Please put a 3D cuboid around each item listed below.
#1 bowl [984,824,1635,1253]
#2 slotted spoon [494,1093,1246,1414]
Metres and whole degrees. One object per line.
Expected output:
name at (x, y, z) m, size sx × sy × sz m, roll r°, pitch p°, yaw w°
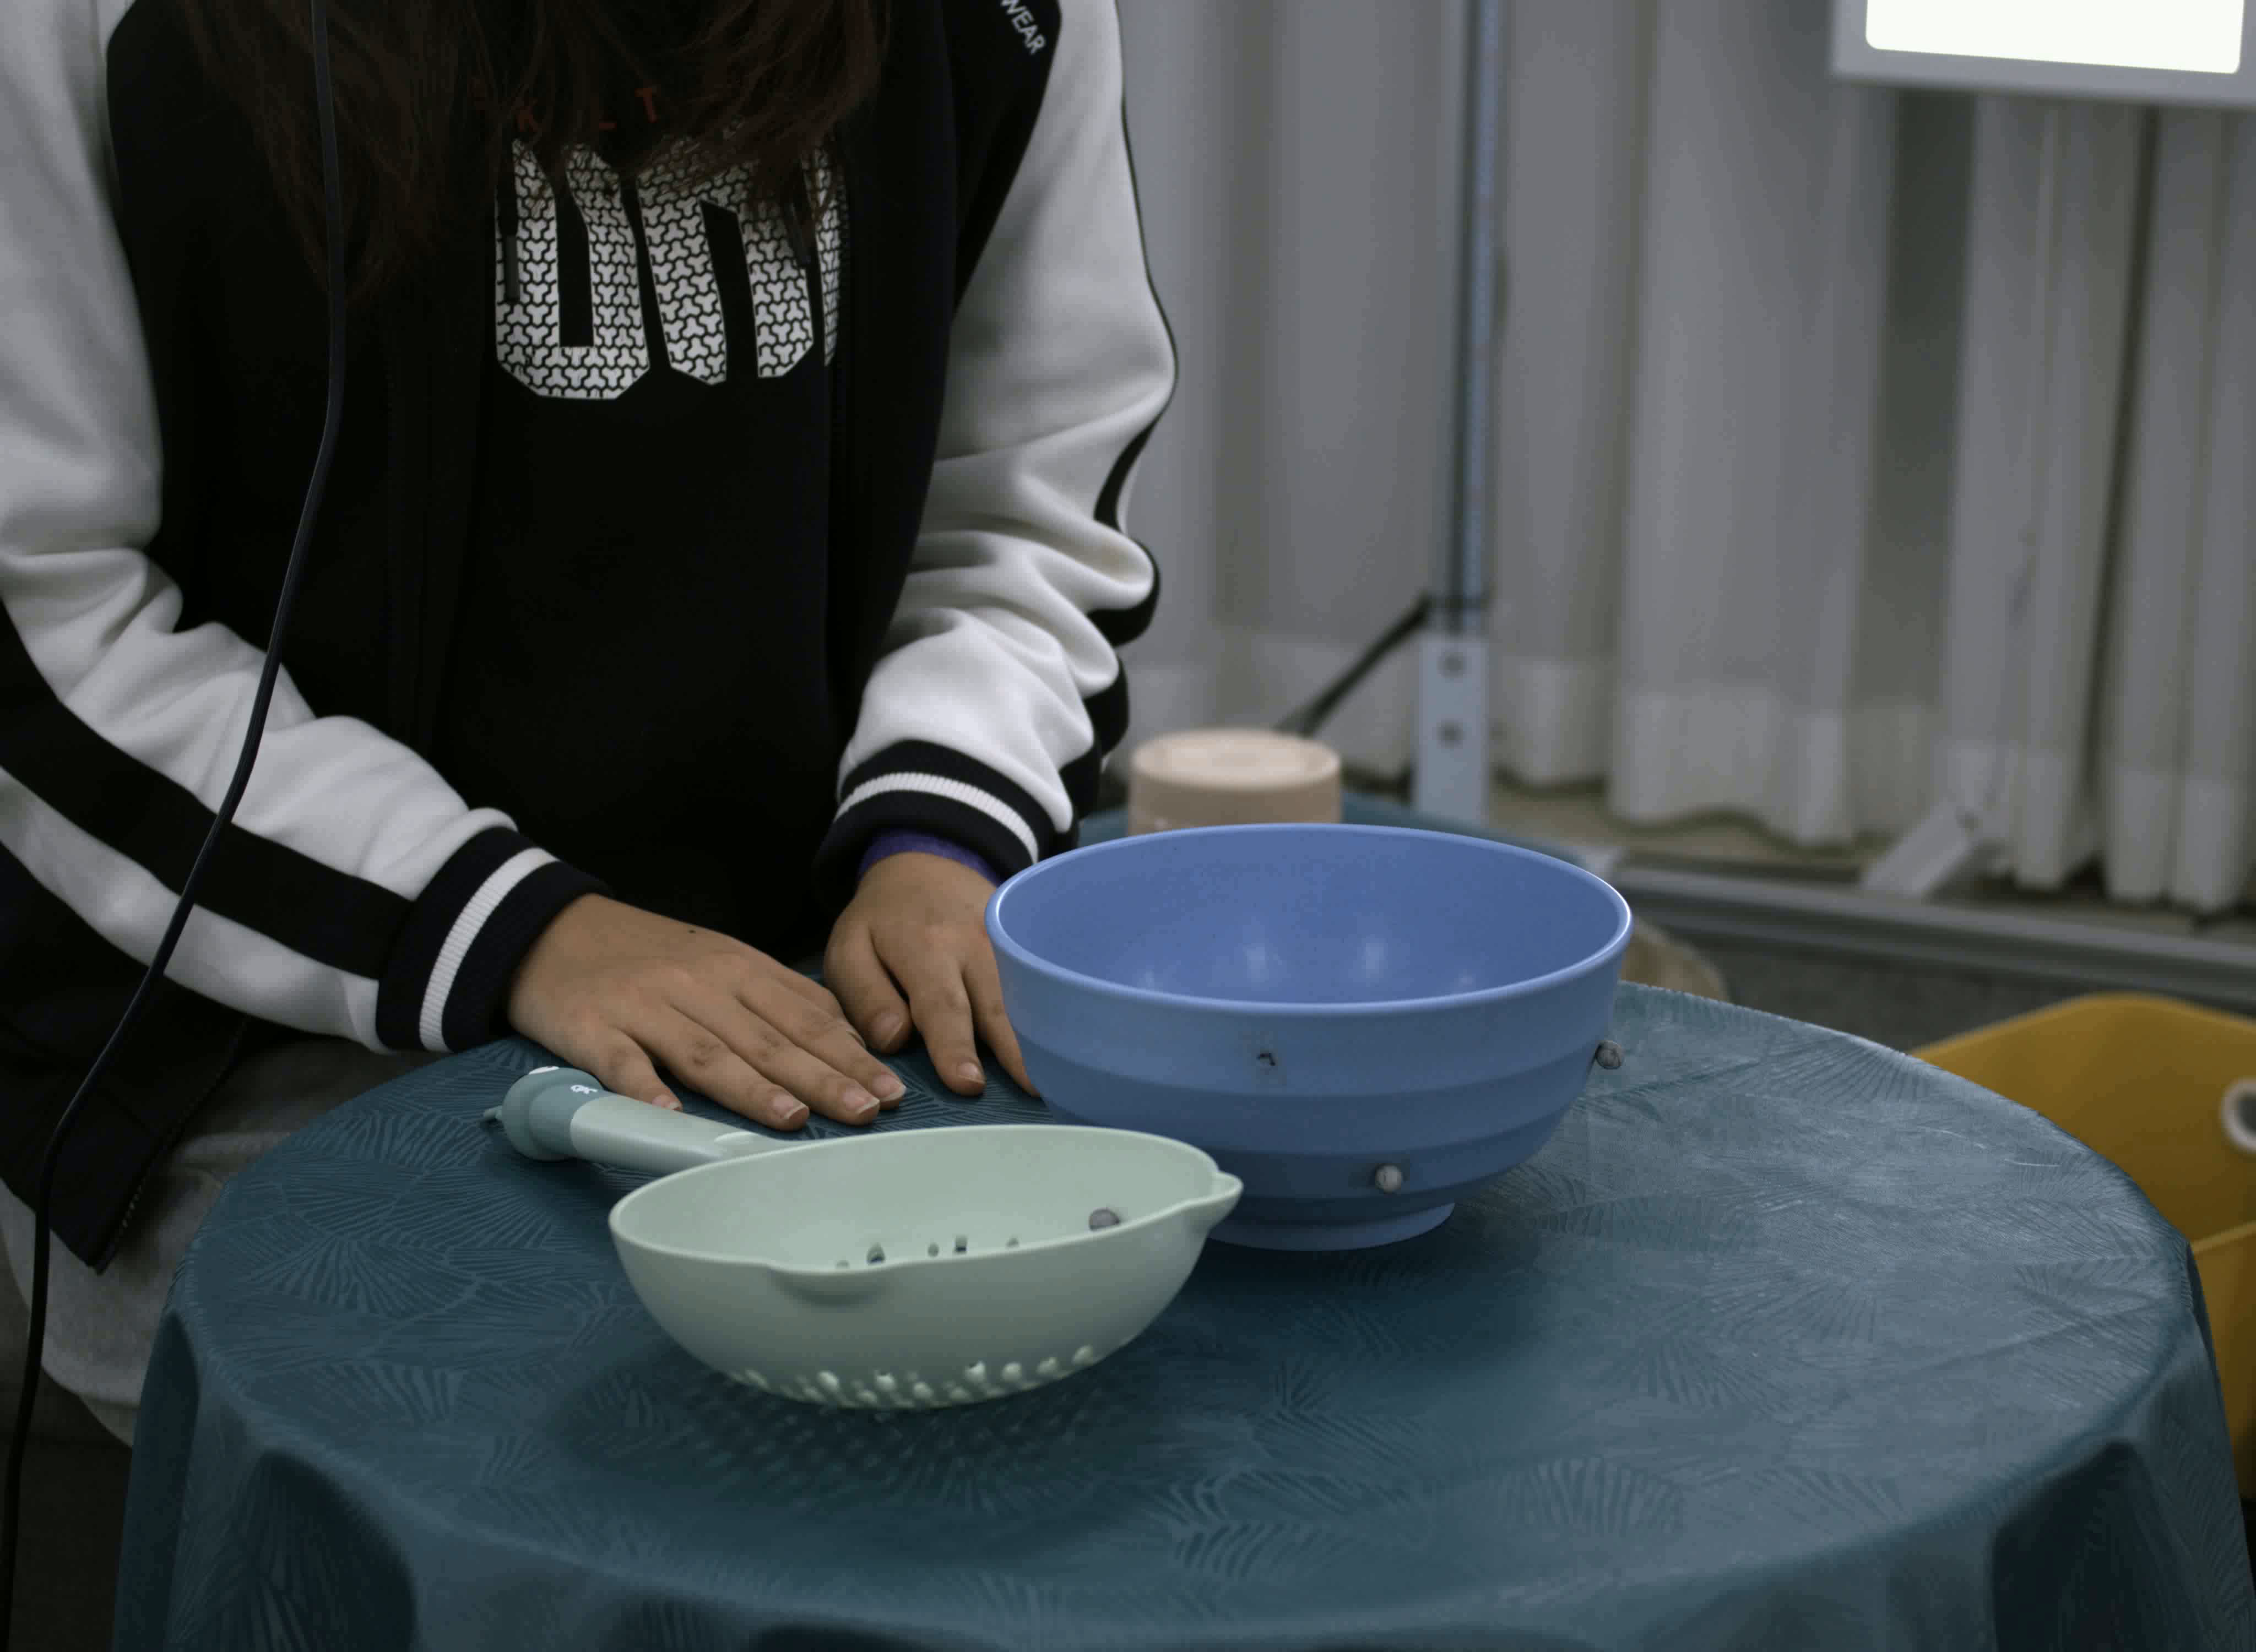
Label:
bowl at (0.055, 0.070, 1.599) m, size 0.196 × 0.096 × 0.195 m, roll 0°, pitch 16°, yaw 1°
slotted spoon at (-0.107, 0.107, 1.530) m, size 0.170 × 0.076 × 0.354 m, roll -8°, pitch 16°, yaw -30°
